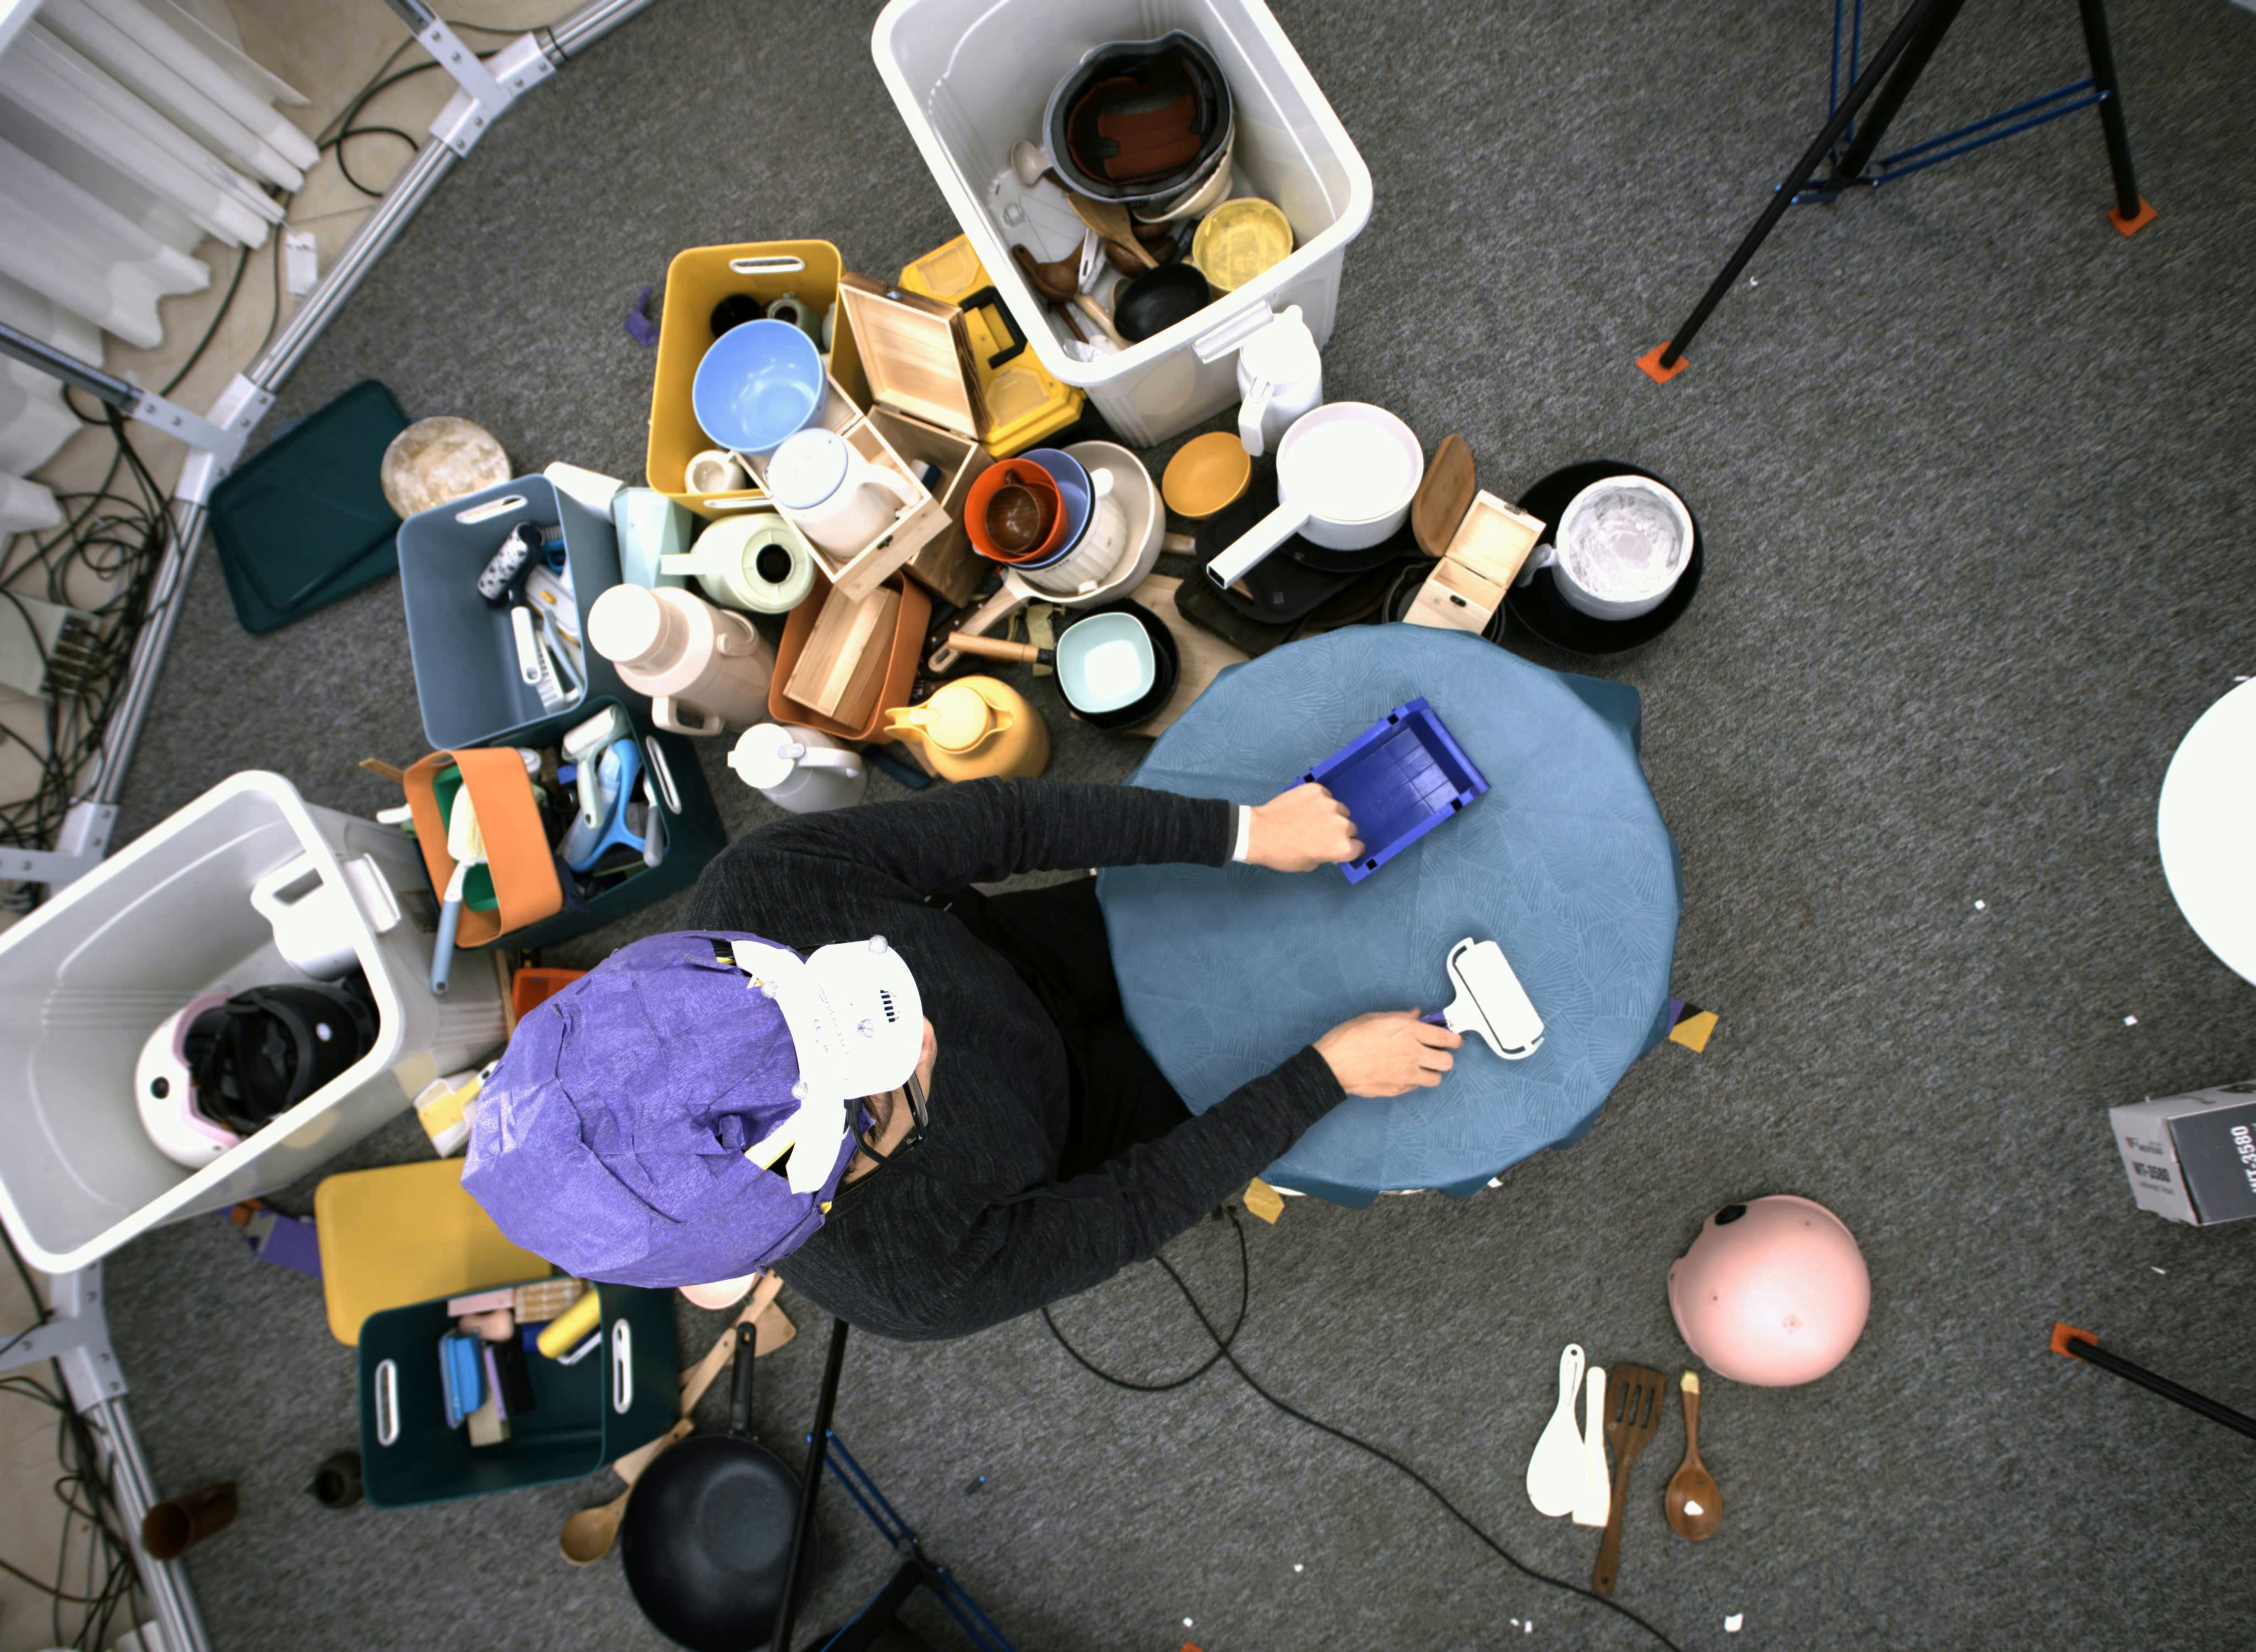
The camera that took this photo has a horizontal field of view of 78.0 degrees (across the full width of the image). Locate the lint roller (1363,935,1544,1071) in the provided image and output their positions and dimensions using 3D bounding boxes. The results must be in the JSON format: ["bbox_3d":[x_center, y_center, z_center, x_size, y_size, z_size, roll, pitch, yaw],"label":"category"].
[{"bbox_3d":[0.322,0.200,1.418,0.181,0.050,0.132,-27,83,4],"label":"lint roller"}]

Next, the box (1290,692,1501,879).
[{"bbox_3d":[0.277,-0.046,1.424,0.181,0.082,0.124,-35,80,9],"label":"box"}]
